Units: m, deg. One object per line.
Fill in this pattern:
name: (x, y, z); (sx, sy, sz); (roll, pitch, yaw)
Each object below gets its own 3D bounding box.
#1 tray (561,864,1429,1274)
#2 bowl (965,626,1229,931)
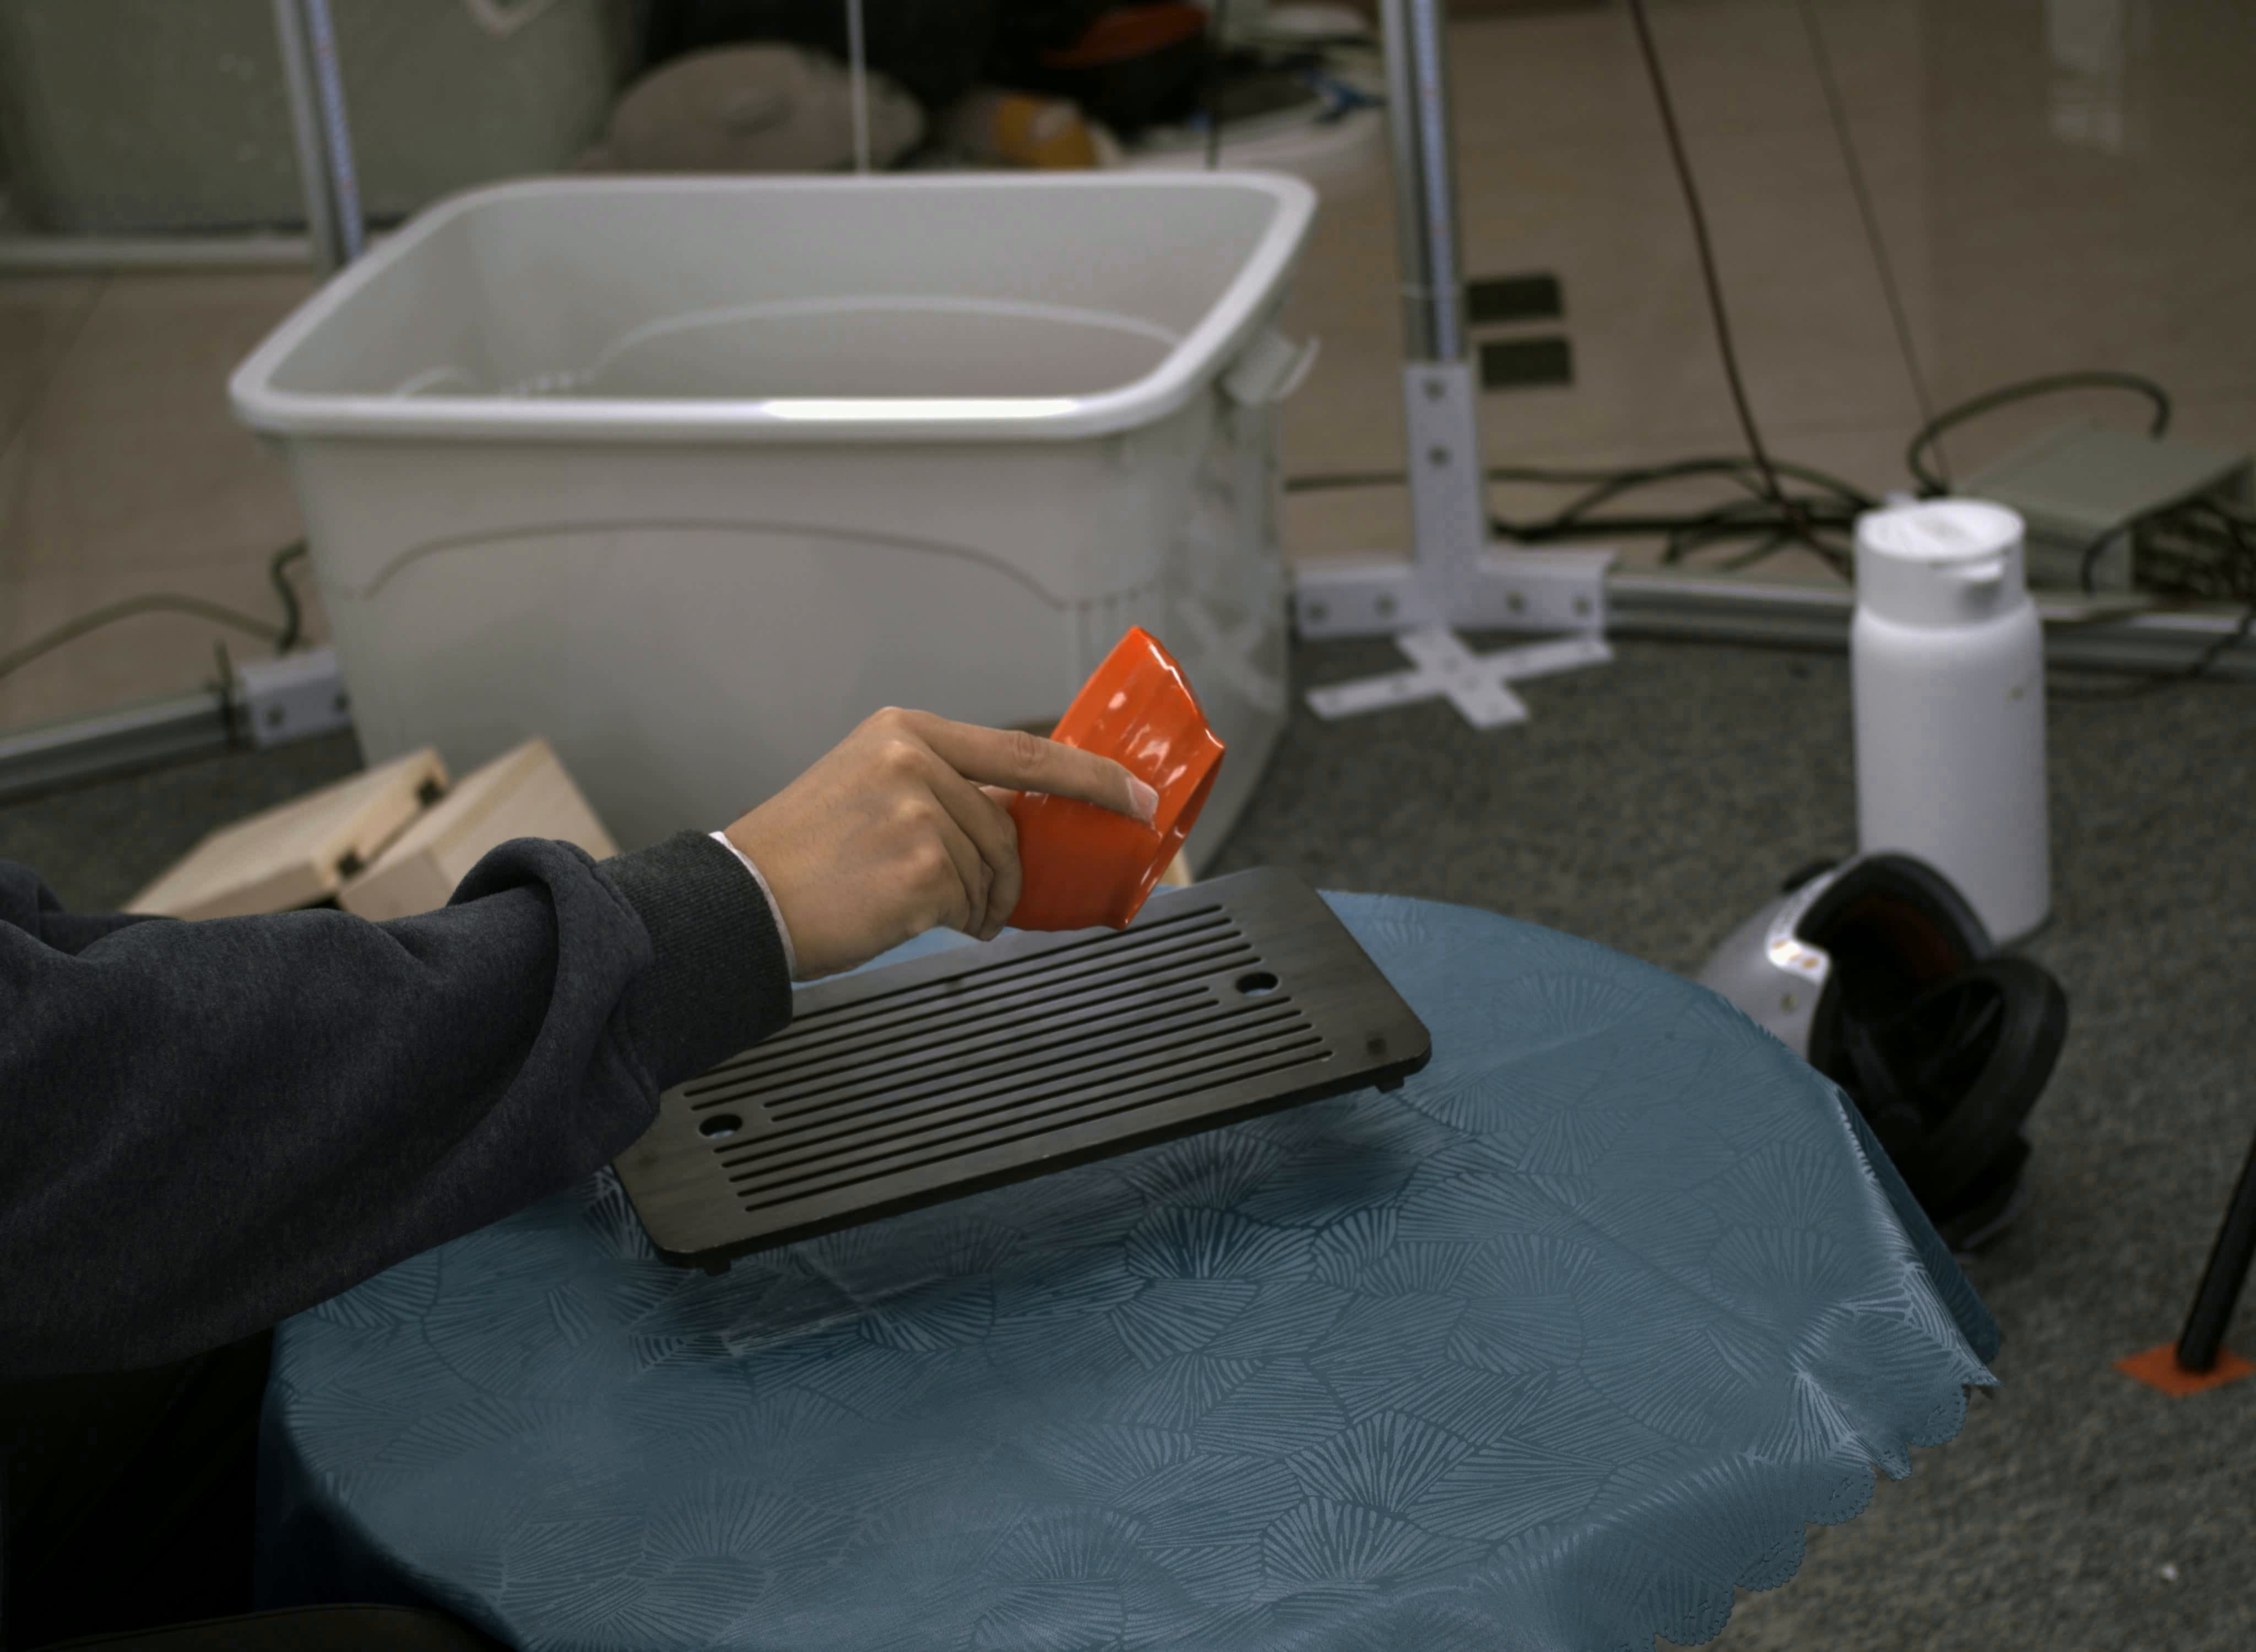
tray: (-0.052, 0.091, 2.158); (0.305, 0.019, 0.167); (-15, 29, -13)
bowl: (-0.006, -0.008, 1.992); (0.051, 0.121, 0.117); (33, 34, 5)
